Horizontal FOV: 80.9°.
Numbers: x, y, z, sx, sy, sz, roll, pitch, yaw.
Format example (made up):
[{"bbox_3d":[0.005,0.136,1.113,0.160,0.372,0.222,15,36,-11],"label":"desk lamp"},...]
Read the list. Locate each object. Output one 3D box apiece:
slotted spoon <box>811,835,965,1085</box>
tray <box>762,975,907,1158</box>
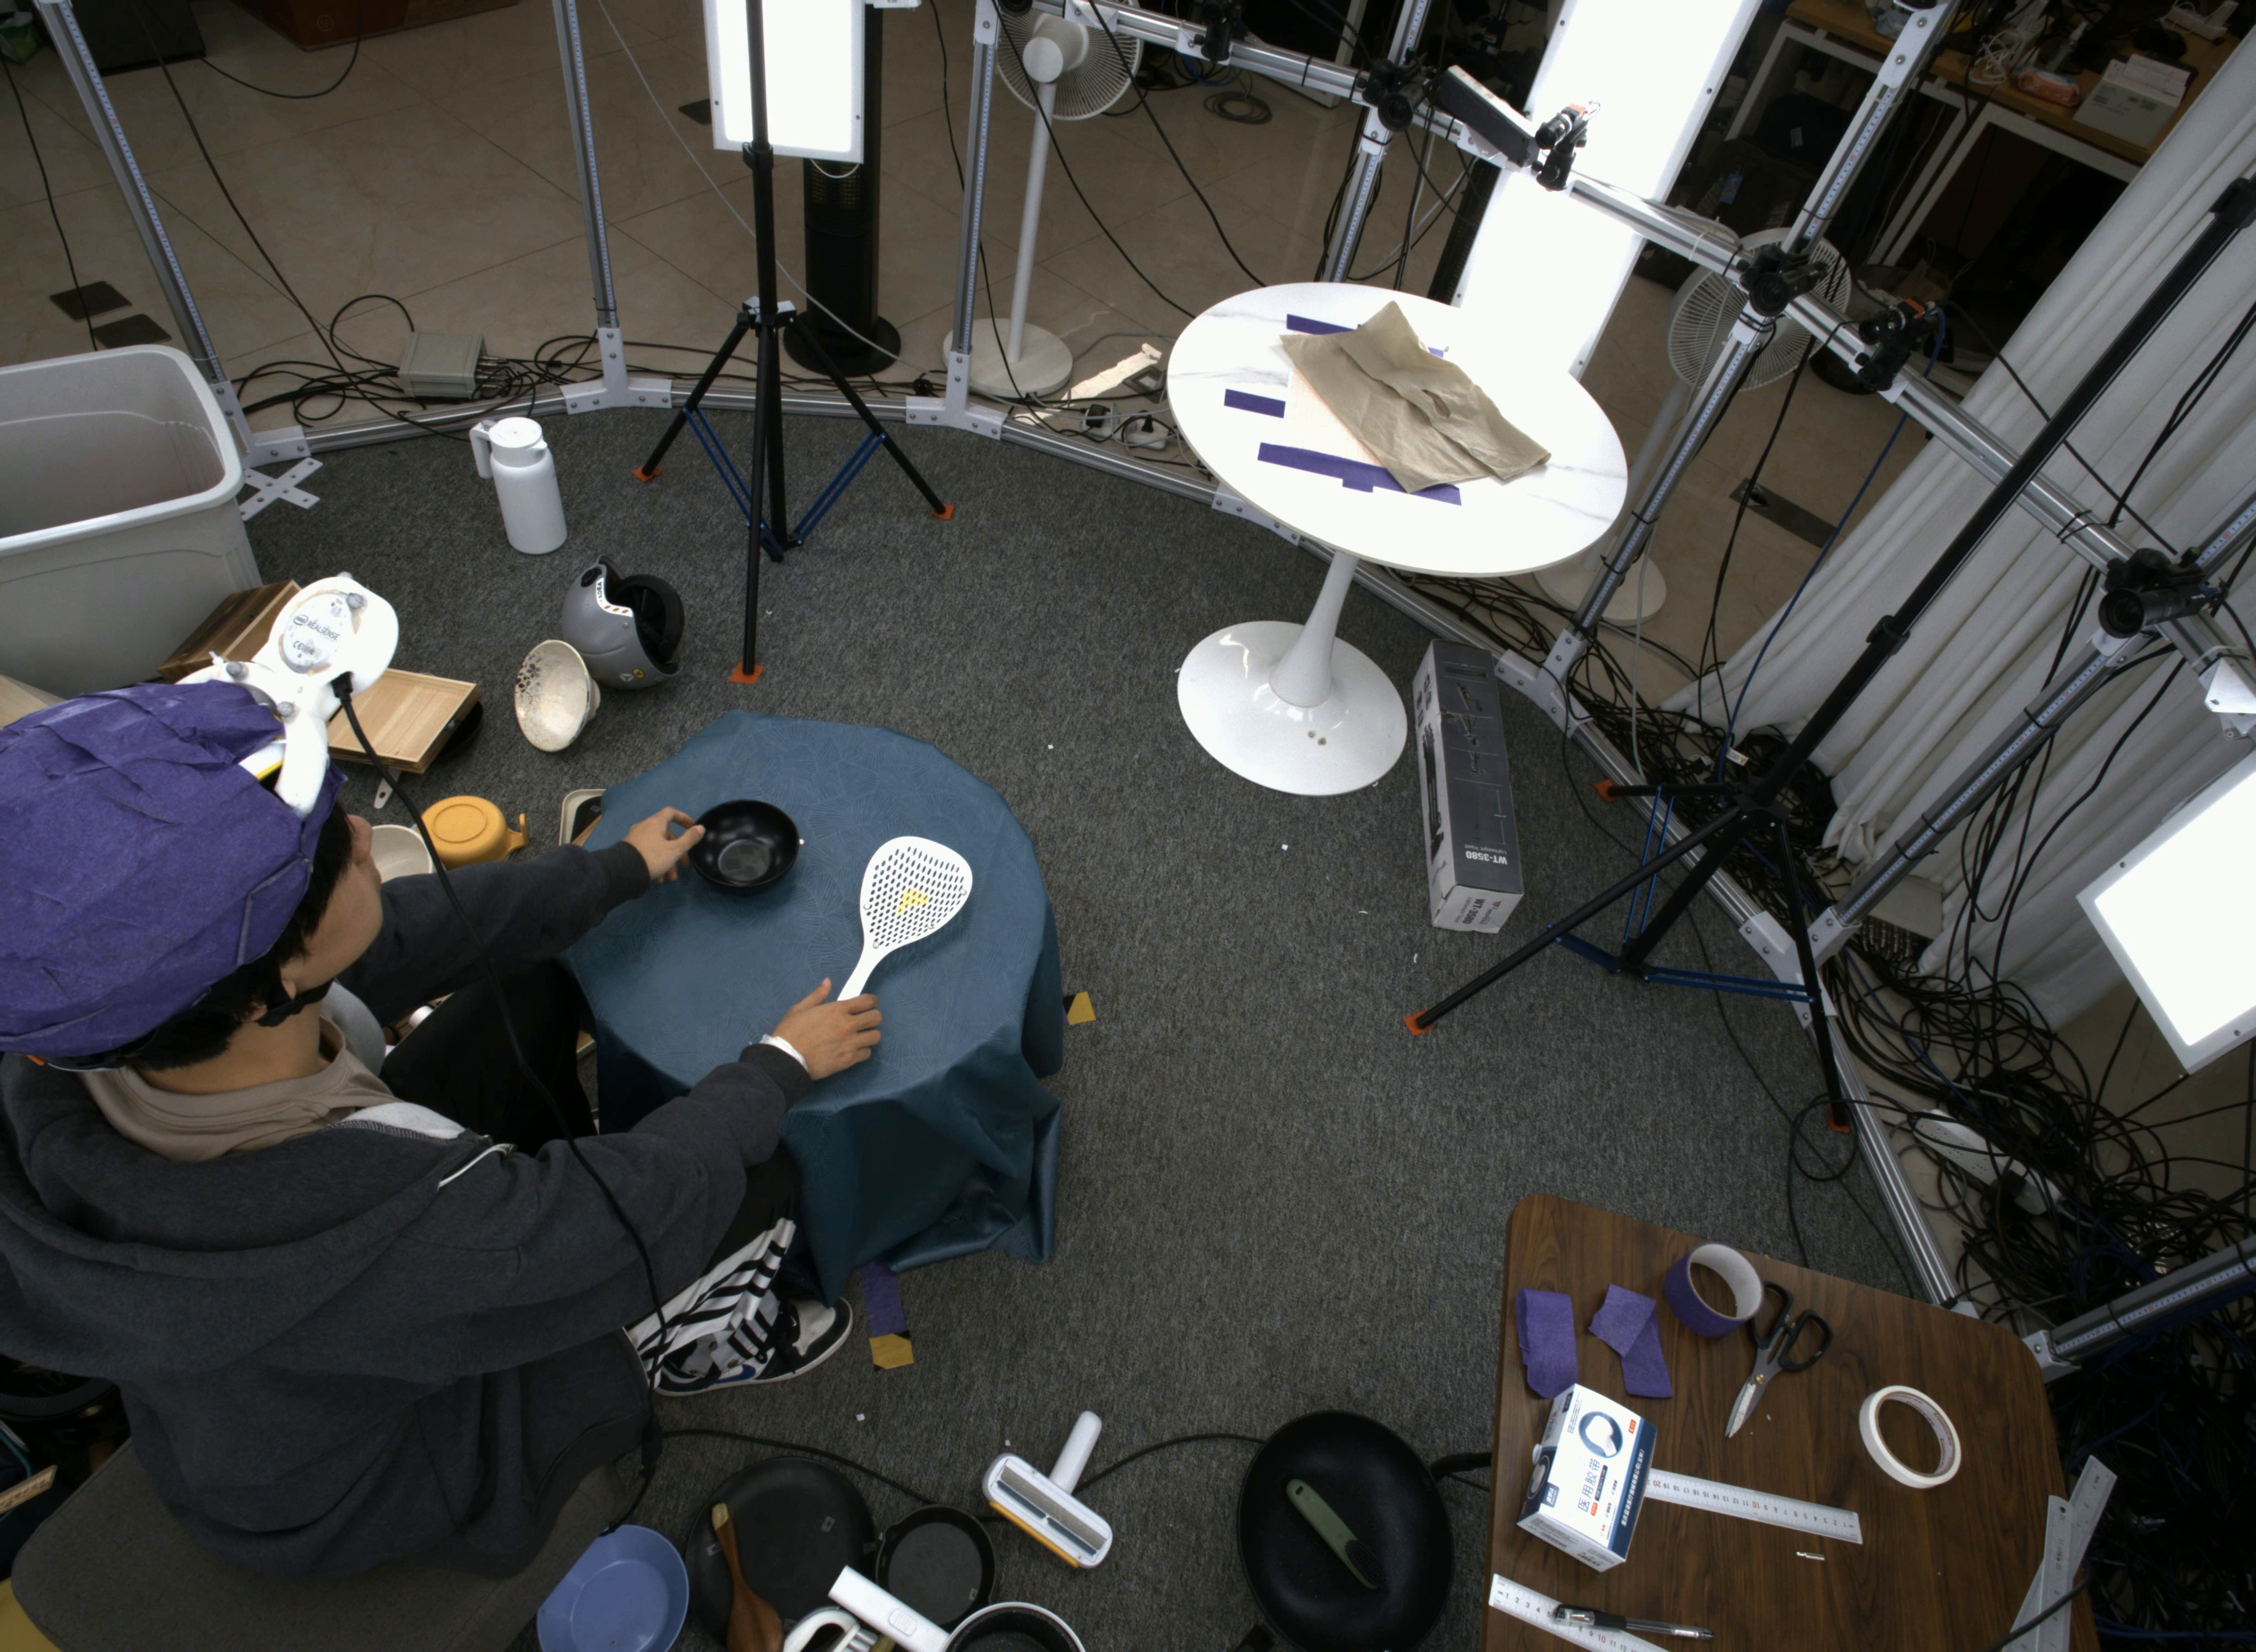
[{"bbox_3d":[-0.317,0.159,1.612,0.136,0.051,0.345,24,52,0],"label":"slotted spoon"},{"bbox_3d":[-0.486,0.385,2.135,0.192,0.028,0.293,-8,56,-20],"label":"tray"}]
